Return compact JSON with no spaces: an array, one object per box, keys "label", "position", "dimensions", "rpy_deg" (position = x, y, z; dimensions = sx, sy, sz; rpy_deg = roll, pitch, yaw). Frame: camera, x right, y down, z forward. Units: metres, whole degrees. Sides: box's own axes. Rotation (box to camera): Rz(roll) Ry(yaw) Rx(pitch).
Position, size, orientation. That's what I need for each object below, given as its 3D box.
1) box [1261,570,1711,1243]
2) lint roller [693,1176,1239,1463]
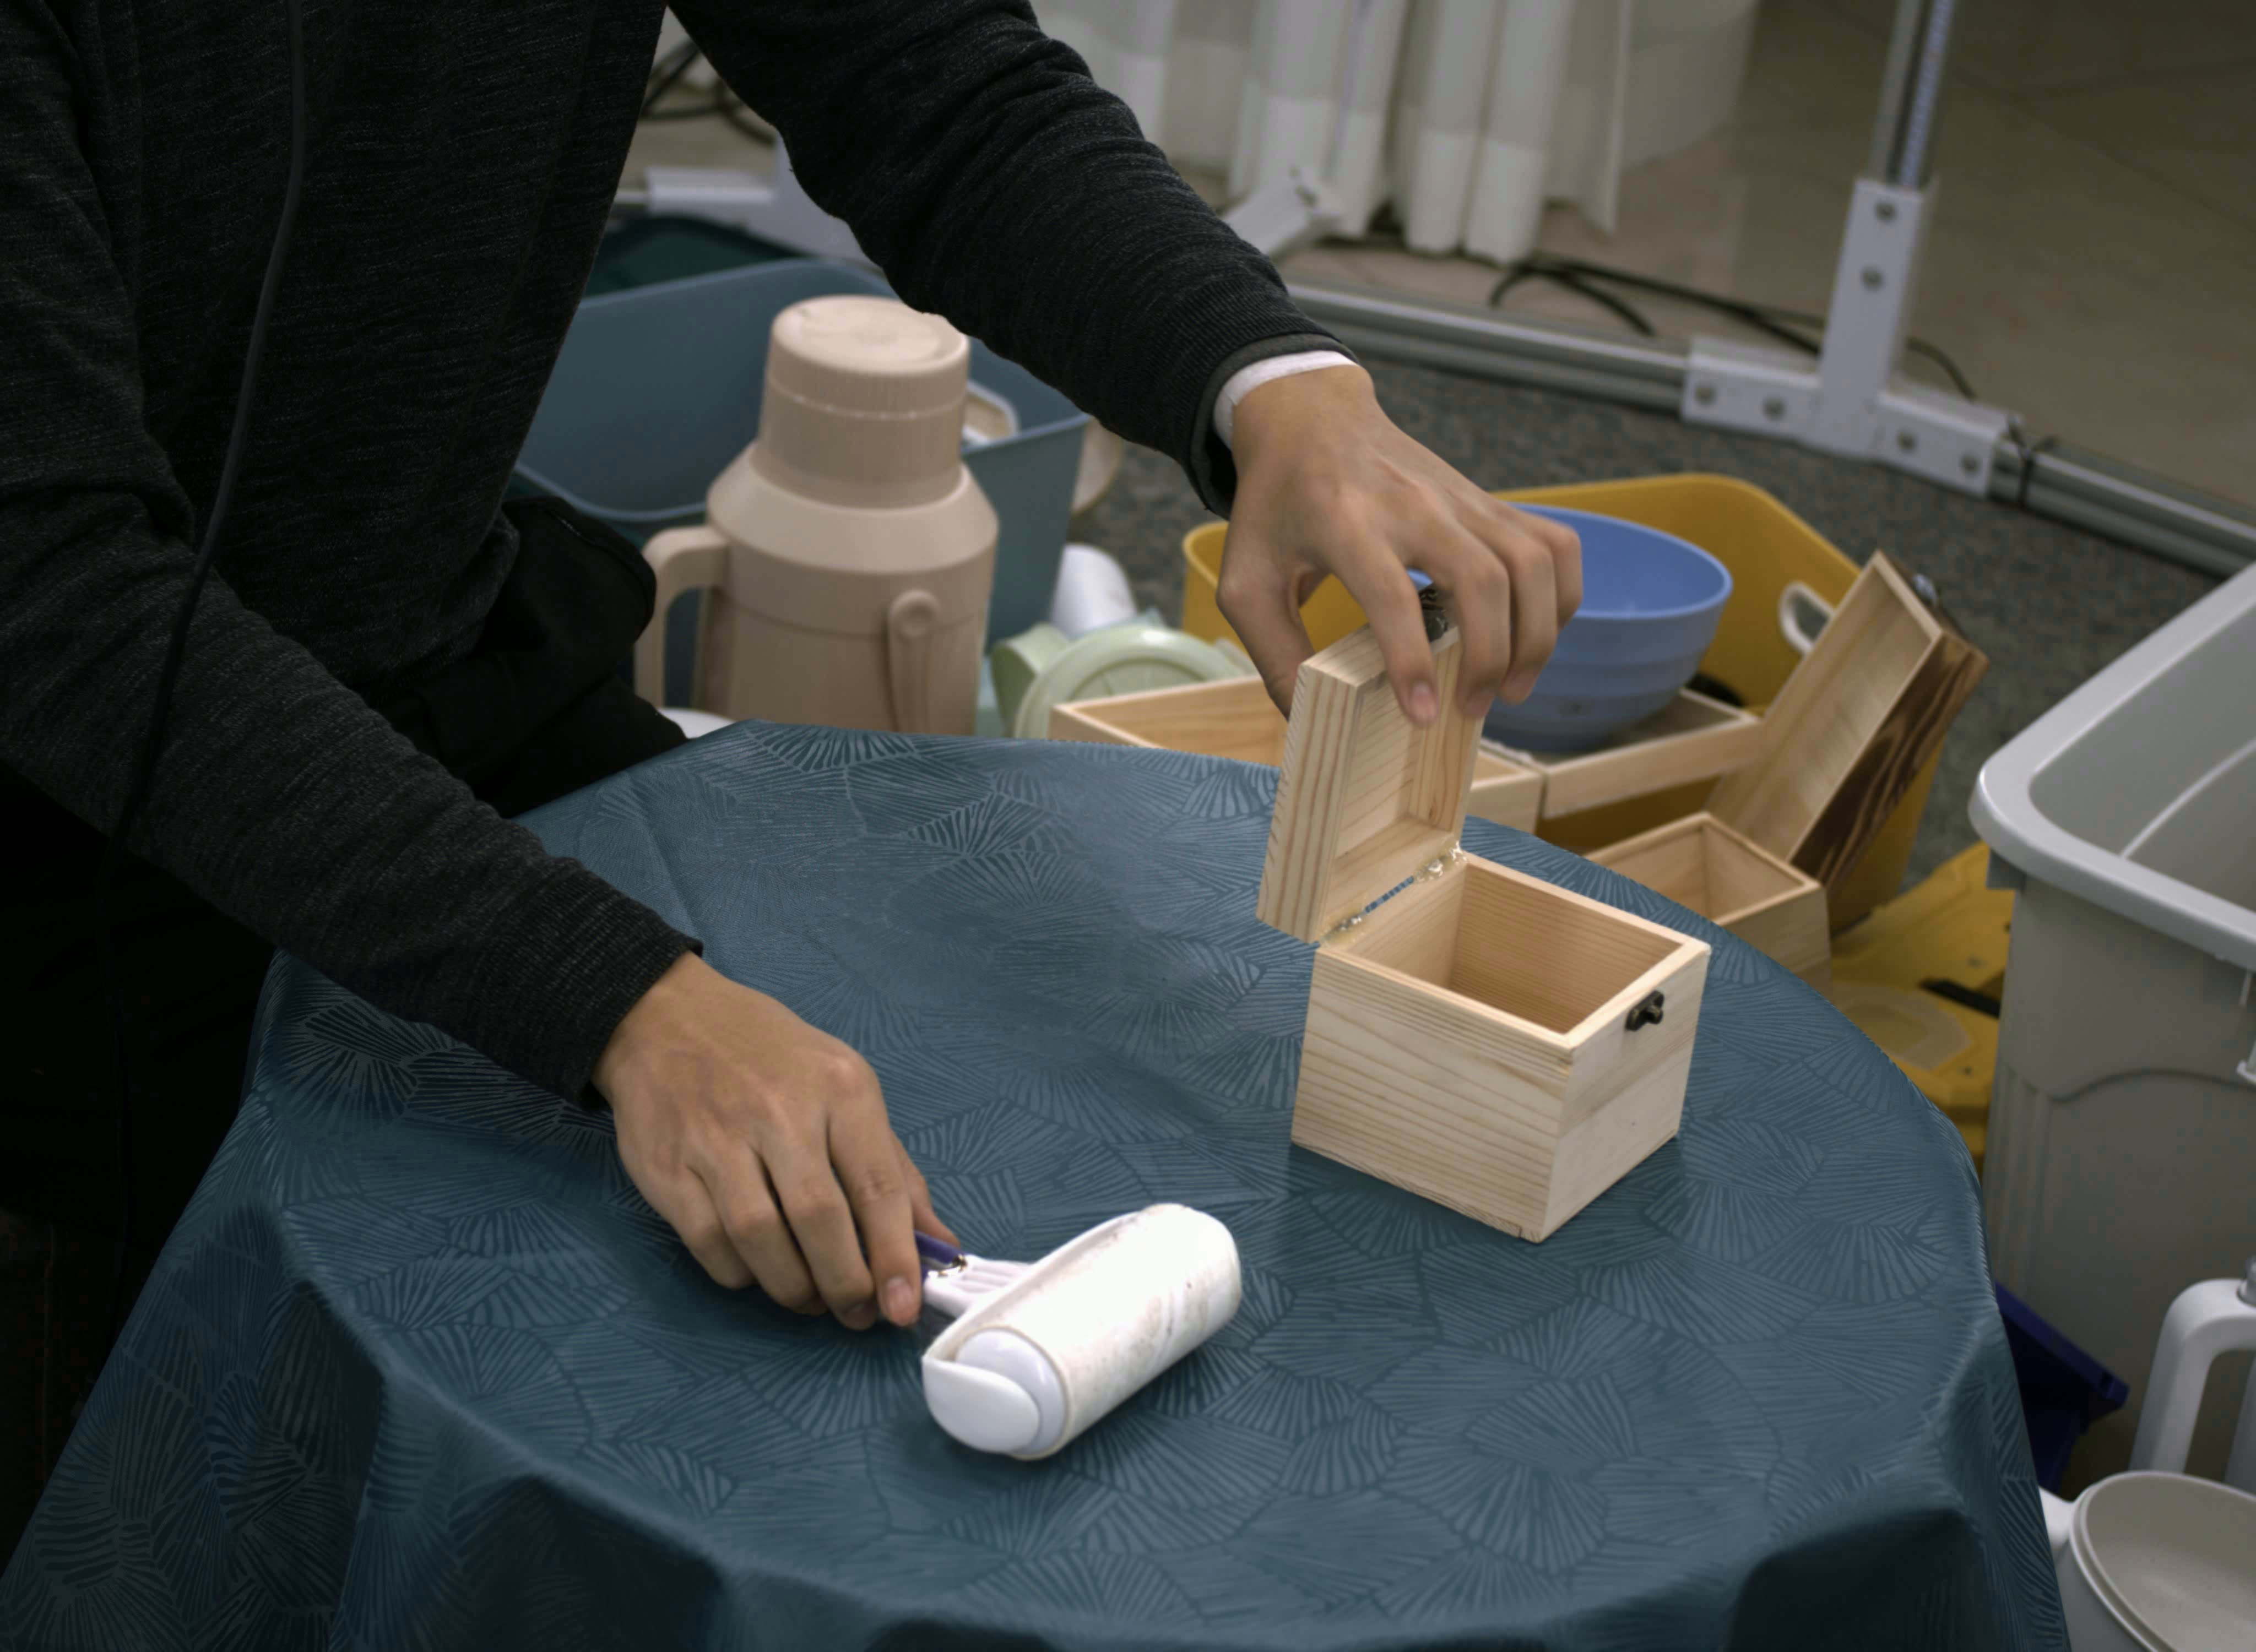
[{"label":"box","position":[0.127,0.026,1.822],"dimensions":[0.134,0.184,0.102],"rpy_deg":[21,29,28]},{"label":"lint roller","position":[-0.064,0.136,1.710],"dimensions":[0.182,0.050,0.132],"rpy_deg":[25,33,28]}]
